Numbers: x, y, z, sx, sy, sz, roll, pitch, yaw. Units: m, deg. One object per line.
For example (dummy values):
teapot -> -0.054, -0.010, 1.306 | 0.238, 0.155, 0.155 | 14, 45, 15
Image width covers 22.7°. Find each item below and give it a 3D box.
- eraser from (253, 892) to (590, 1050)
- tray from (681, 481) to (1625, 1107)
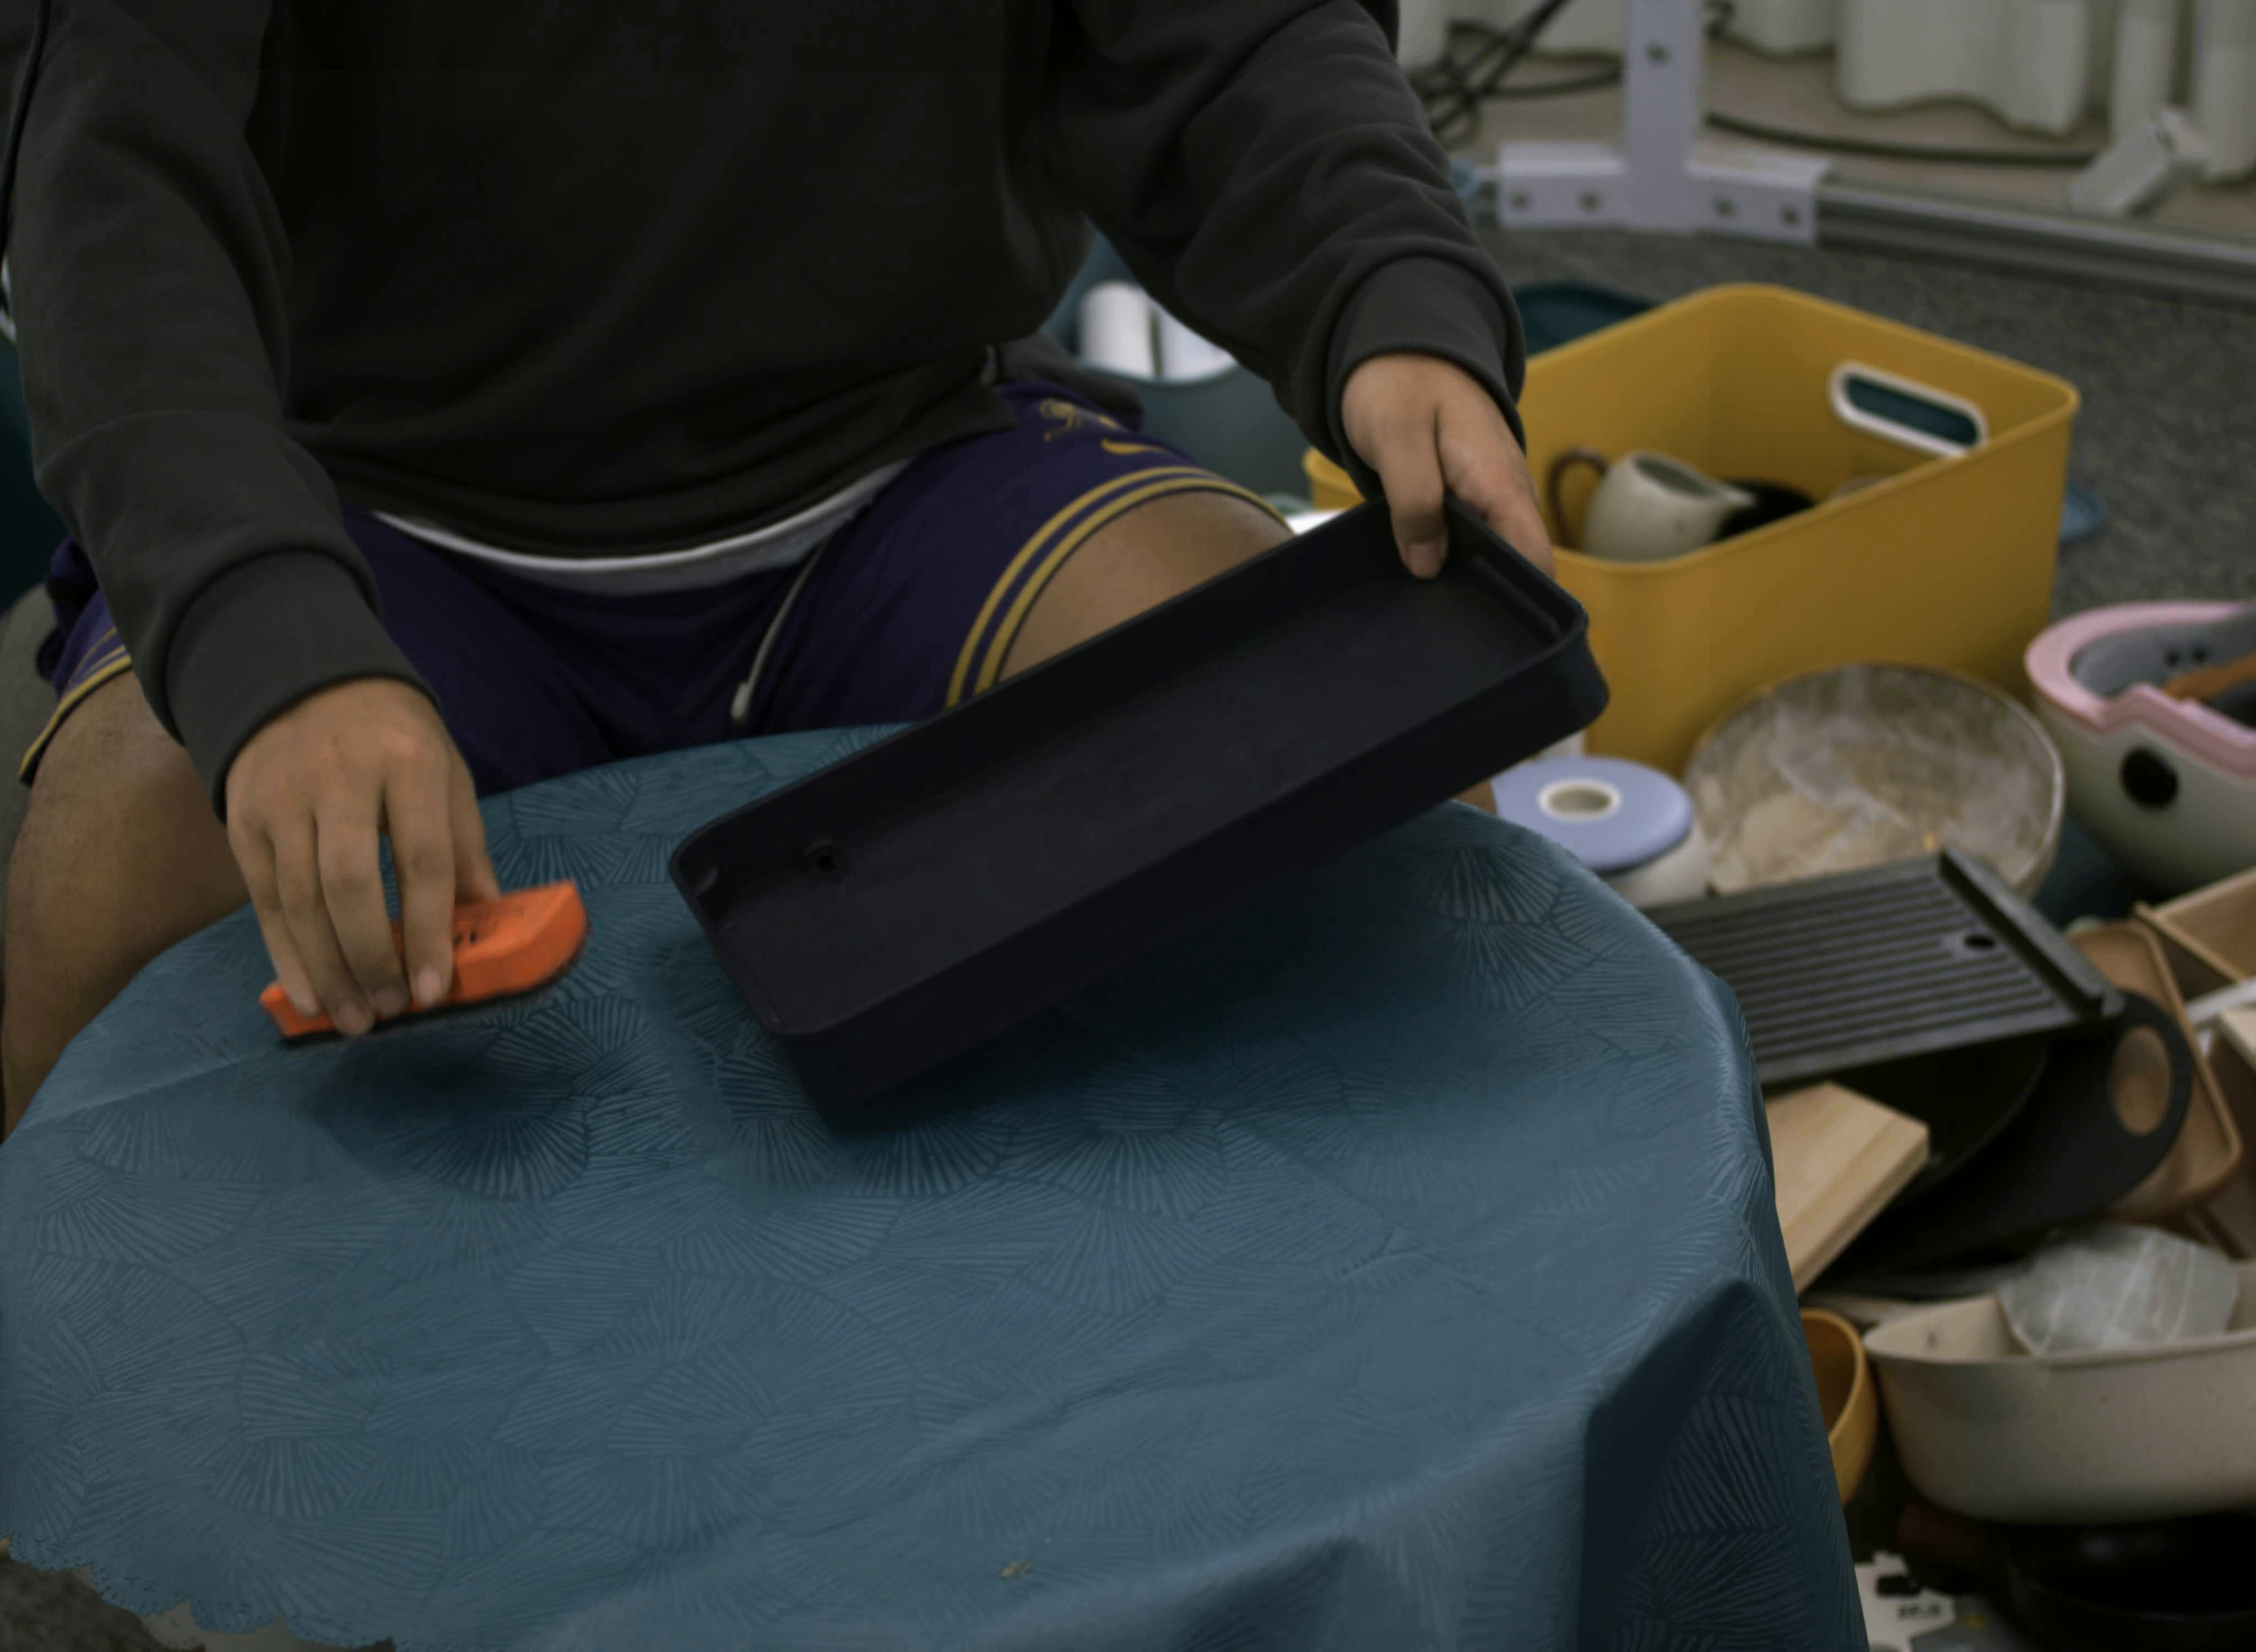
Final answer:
eraser -> -0.242, 0.050, 1.932 | 0.107, 0.023, 0.059 | -12, 13, 18
tray -> 0.007, -0.016, 1.979 | 0.319, 0.037, 0.185 | -28, 26, -10
